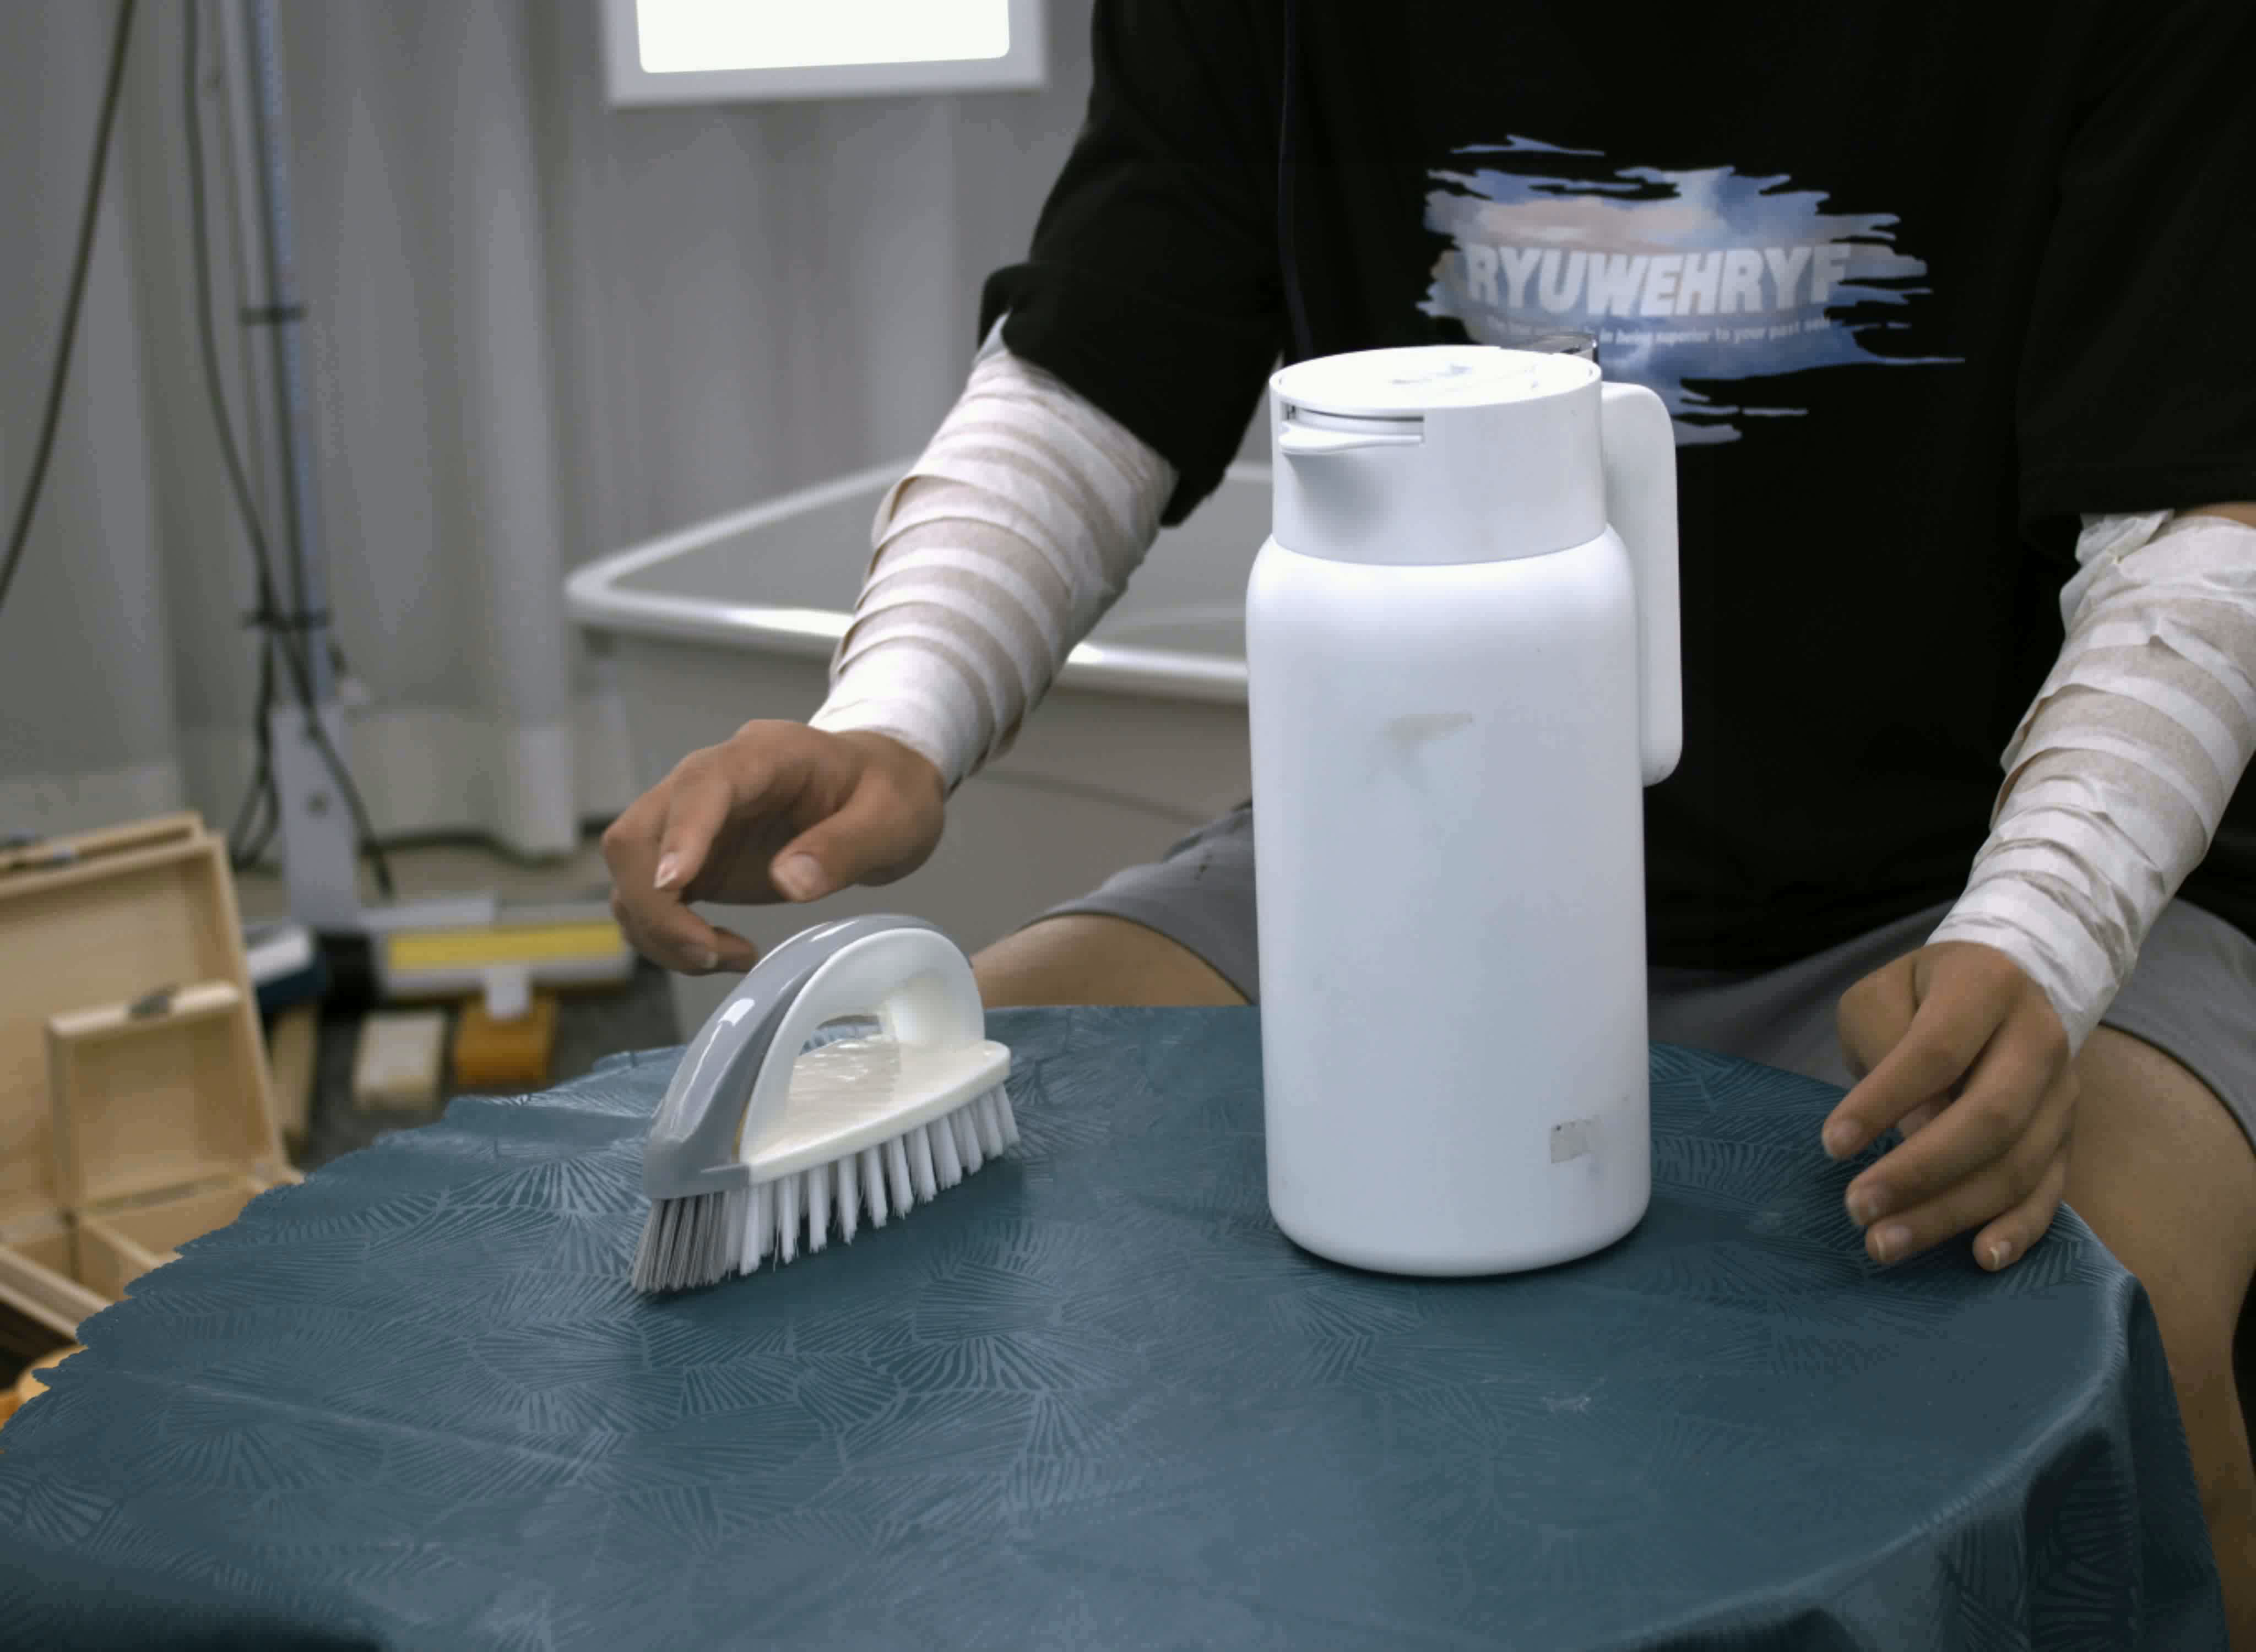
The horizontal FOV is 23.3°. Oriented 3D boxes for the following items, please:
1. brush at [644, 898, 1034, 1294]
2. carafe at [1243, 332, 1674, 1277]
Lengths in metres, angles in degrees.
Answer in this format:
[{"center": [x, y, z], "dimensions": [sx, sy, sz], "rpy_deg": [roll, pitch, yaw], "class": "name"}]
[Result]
[{"center": [-0.098, 0.078, 1.690], "dimensions": [0.061, 0.094, 0.176], "rpy_deg": [3, 17, 32], "class": "brush"}, {"center": [0.105, -0.011, 1.650], "dimensions": [0.124, 0.268, 0.172], "rpy_deg": [5, 15, 38], "class": "carafe"}]
